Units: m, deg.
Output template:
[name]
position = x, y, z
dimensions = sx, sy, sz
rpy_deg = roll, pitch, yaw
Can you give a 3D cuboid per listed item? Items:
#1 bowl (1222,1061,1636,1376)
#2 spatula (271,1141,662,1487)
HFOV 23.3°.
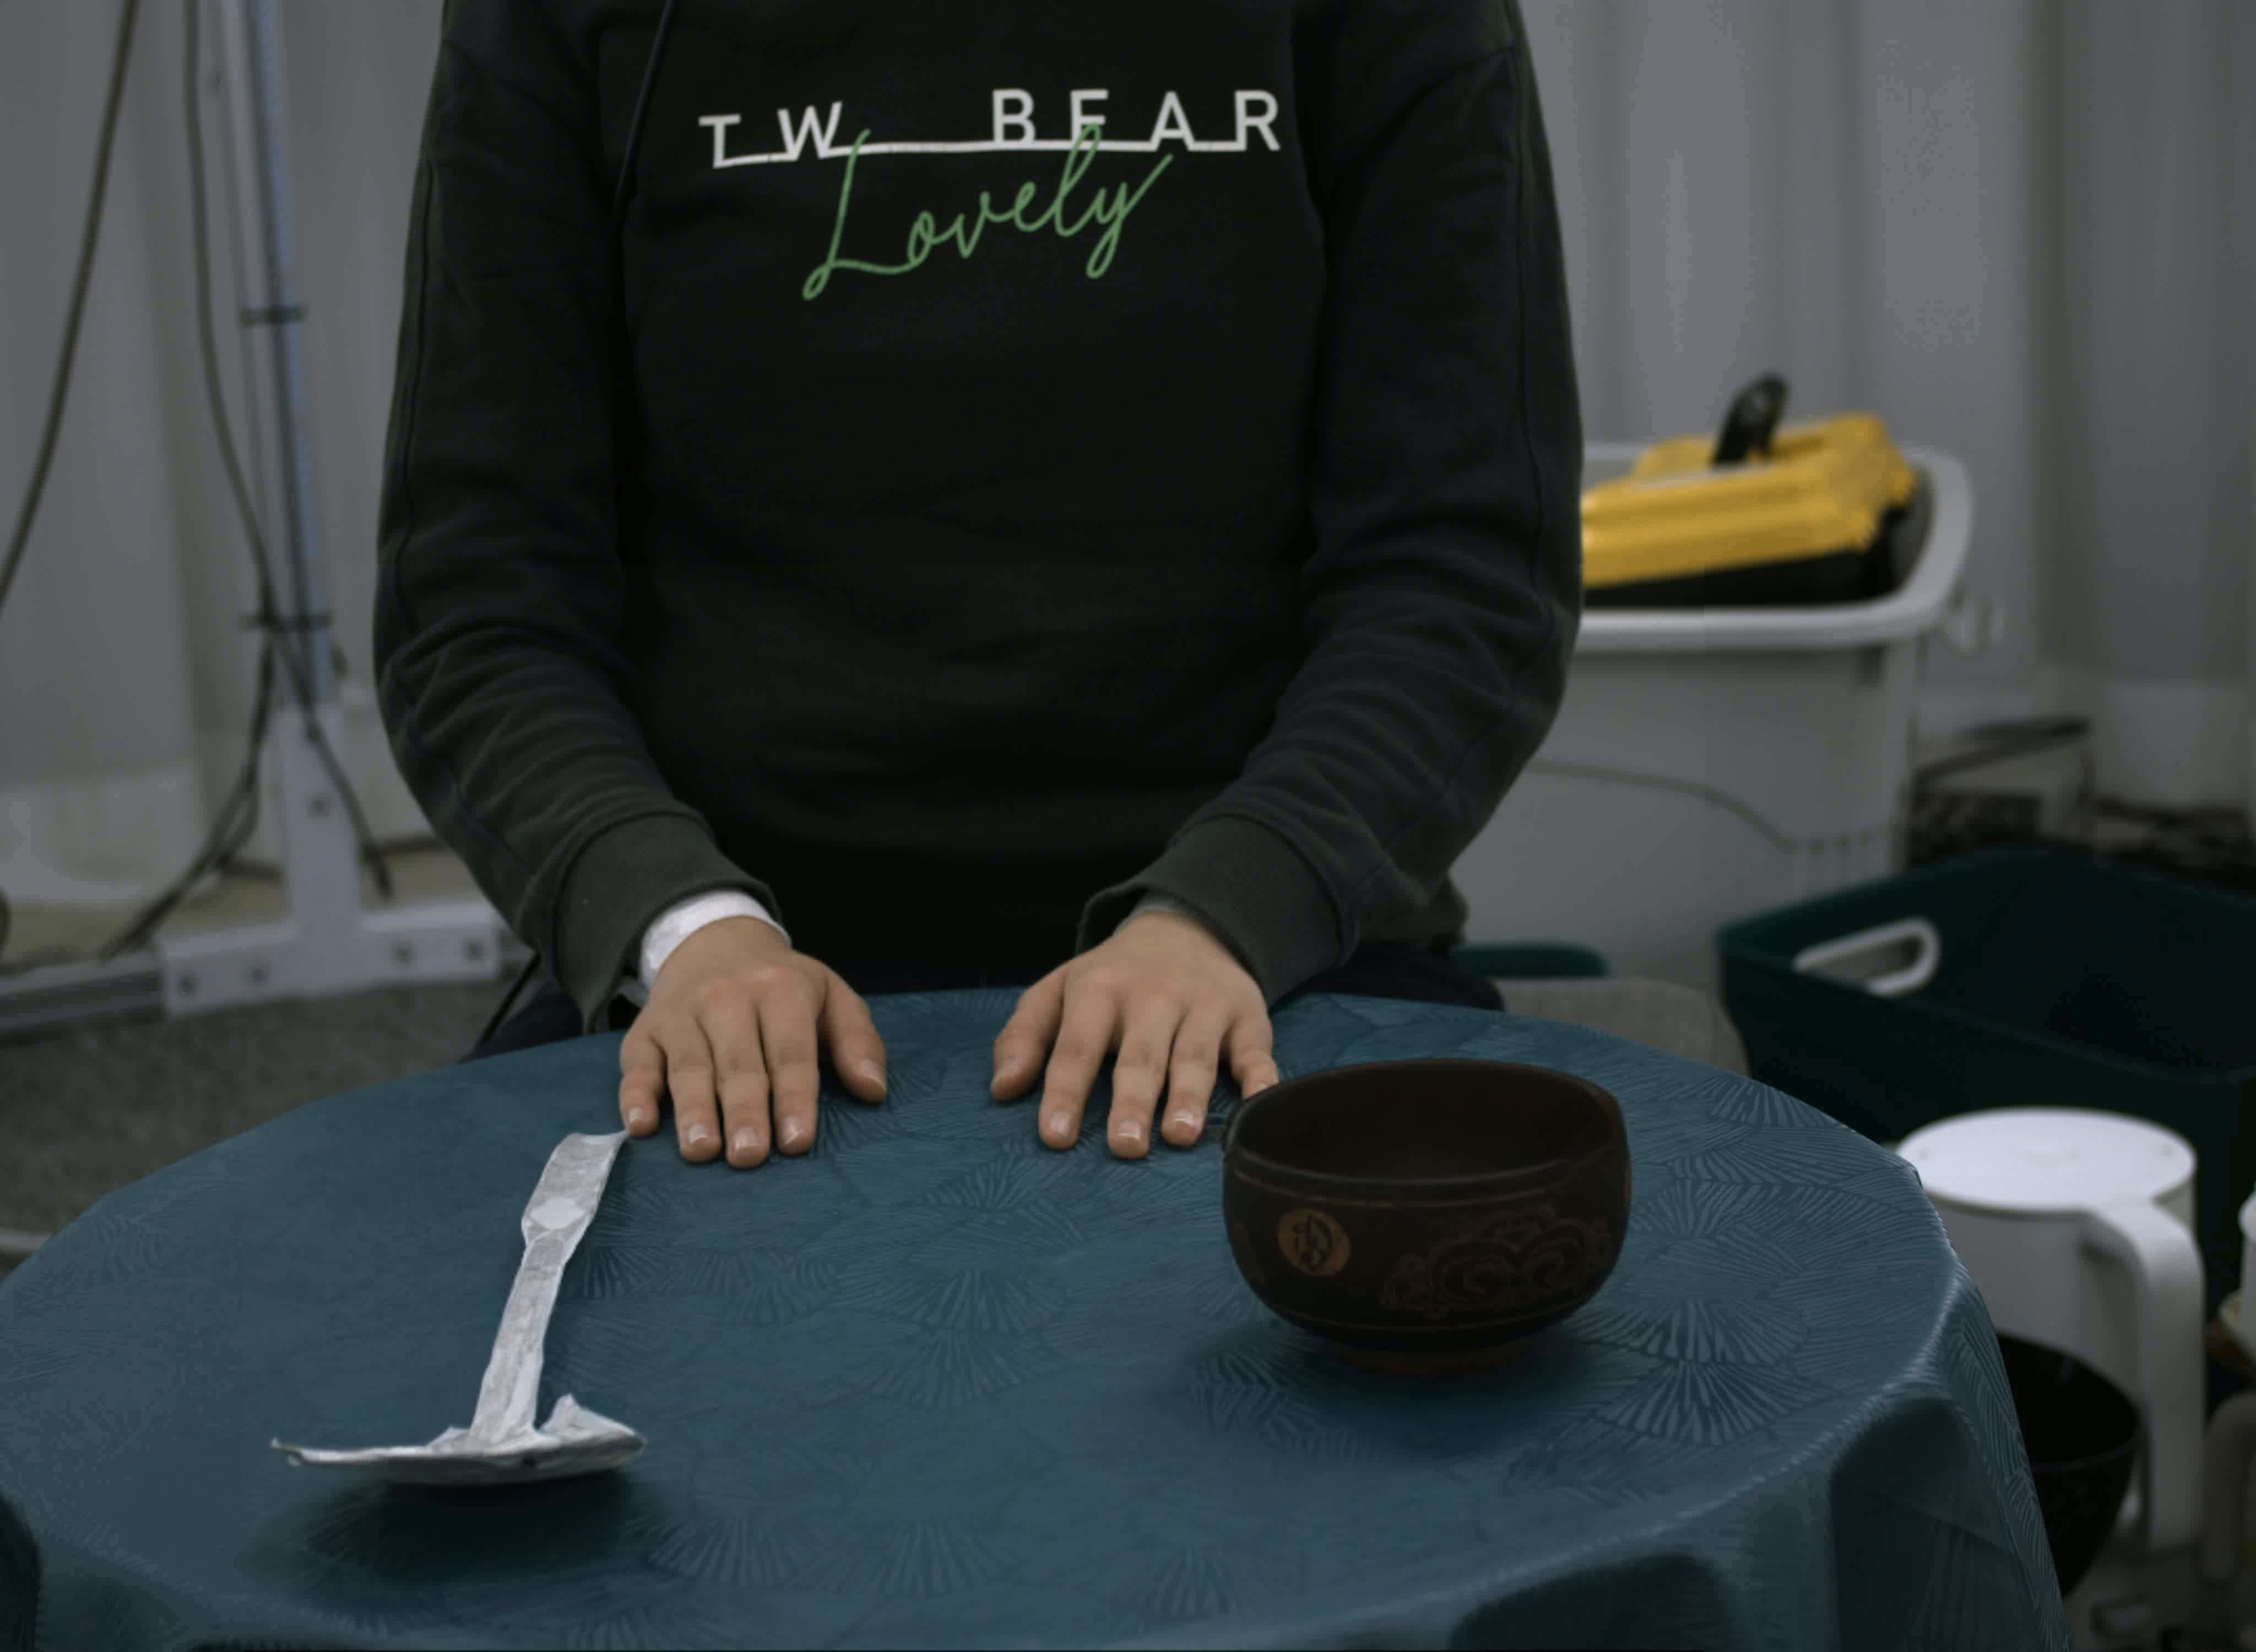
[bowl]
position = 0.086, 0.115, 1.559
dimensions = 0.117, 0.069, 0.119
rpy_deg = -2, 12, 0
[spatula]
position = -0.171, 0.134, 1.600
dimensions = 0.098, 0.044, 0.367
rpy_deg = -4, 15, 3
